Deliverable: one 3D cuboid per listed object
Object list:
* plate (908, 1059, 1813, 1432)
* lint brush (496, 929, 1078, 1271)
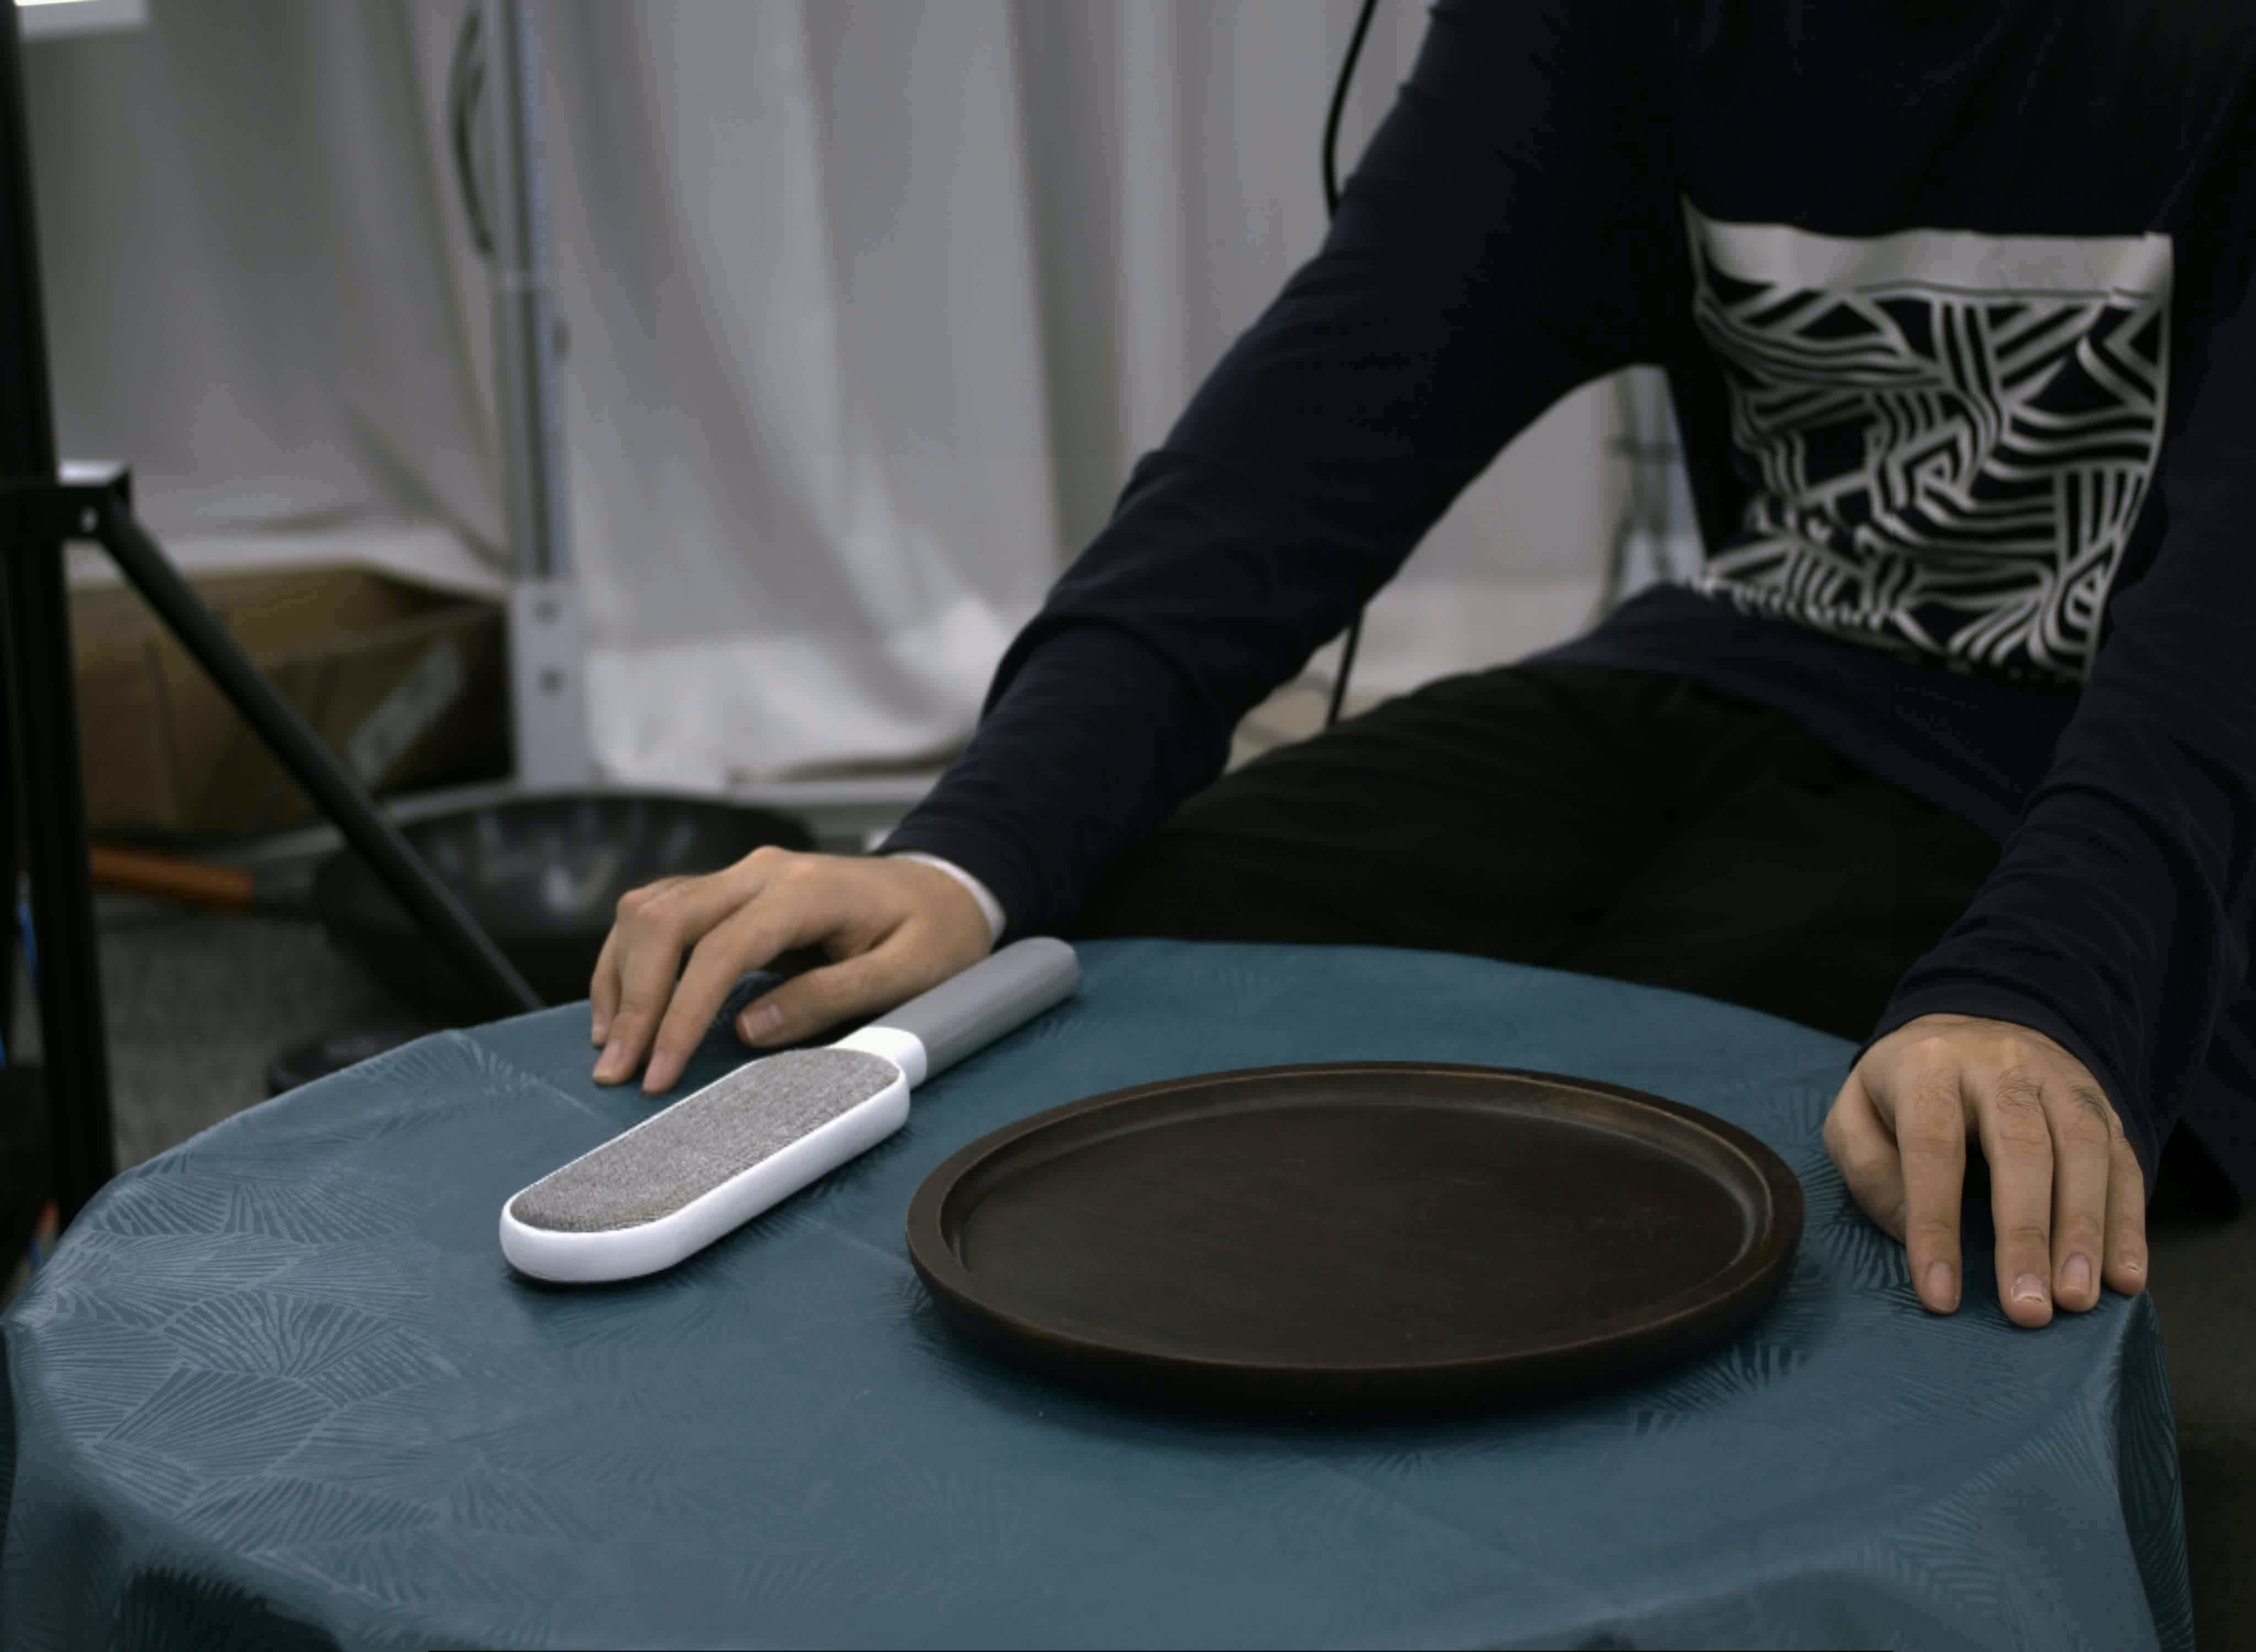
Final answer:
[{"bbox_3d":[0.065,0.114,1.485,0.253,0.029,0.256,-2,17,-1],"label":"plate"},{"bbox_3d":[-0.093,0.080,1.625,0.061,0.021,0.304,0,15,29],"label":"lint brush"}]
